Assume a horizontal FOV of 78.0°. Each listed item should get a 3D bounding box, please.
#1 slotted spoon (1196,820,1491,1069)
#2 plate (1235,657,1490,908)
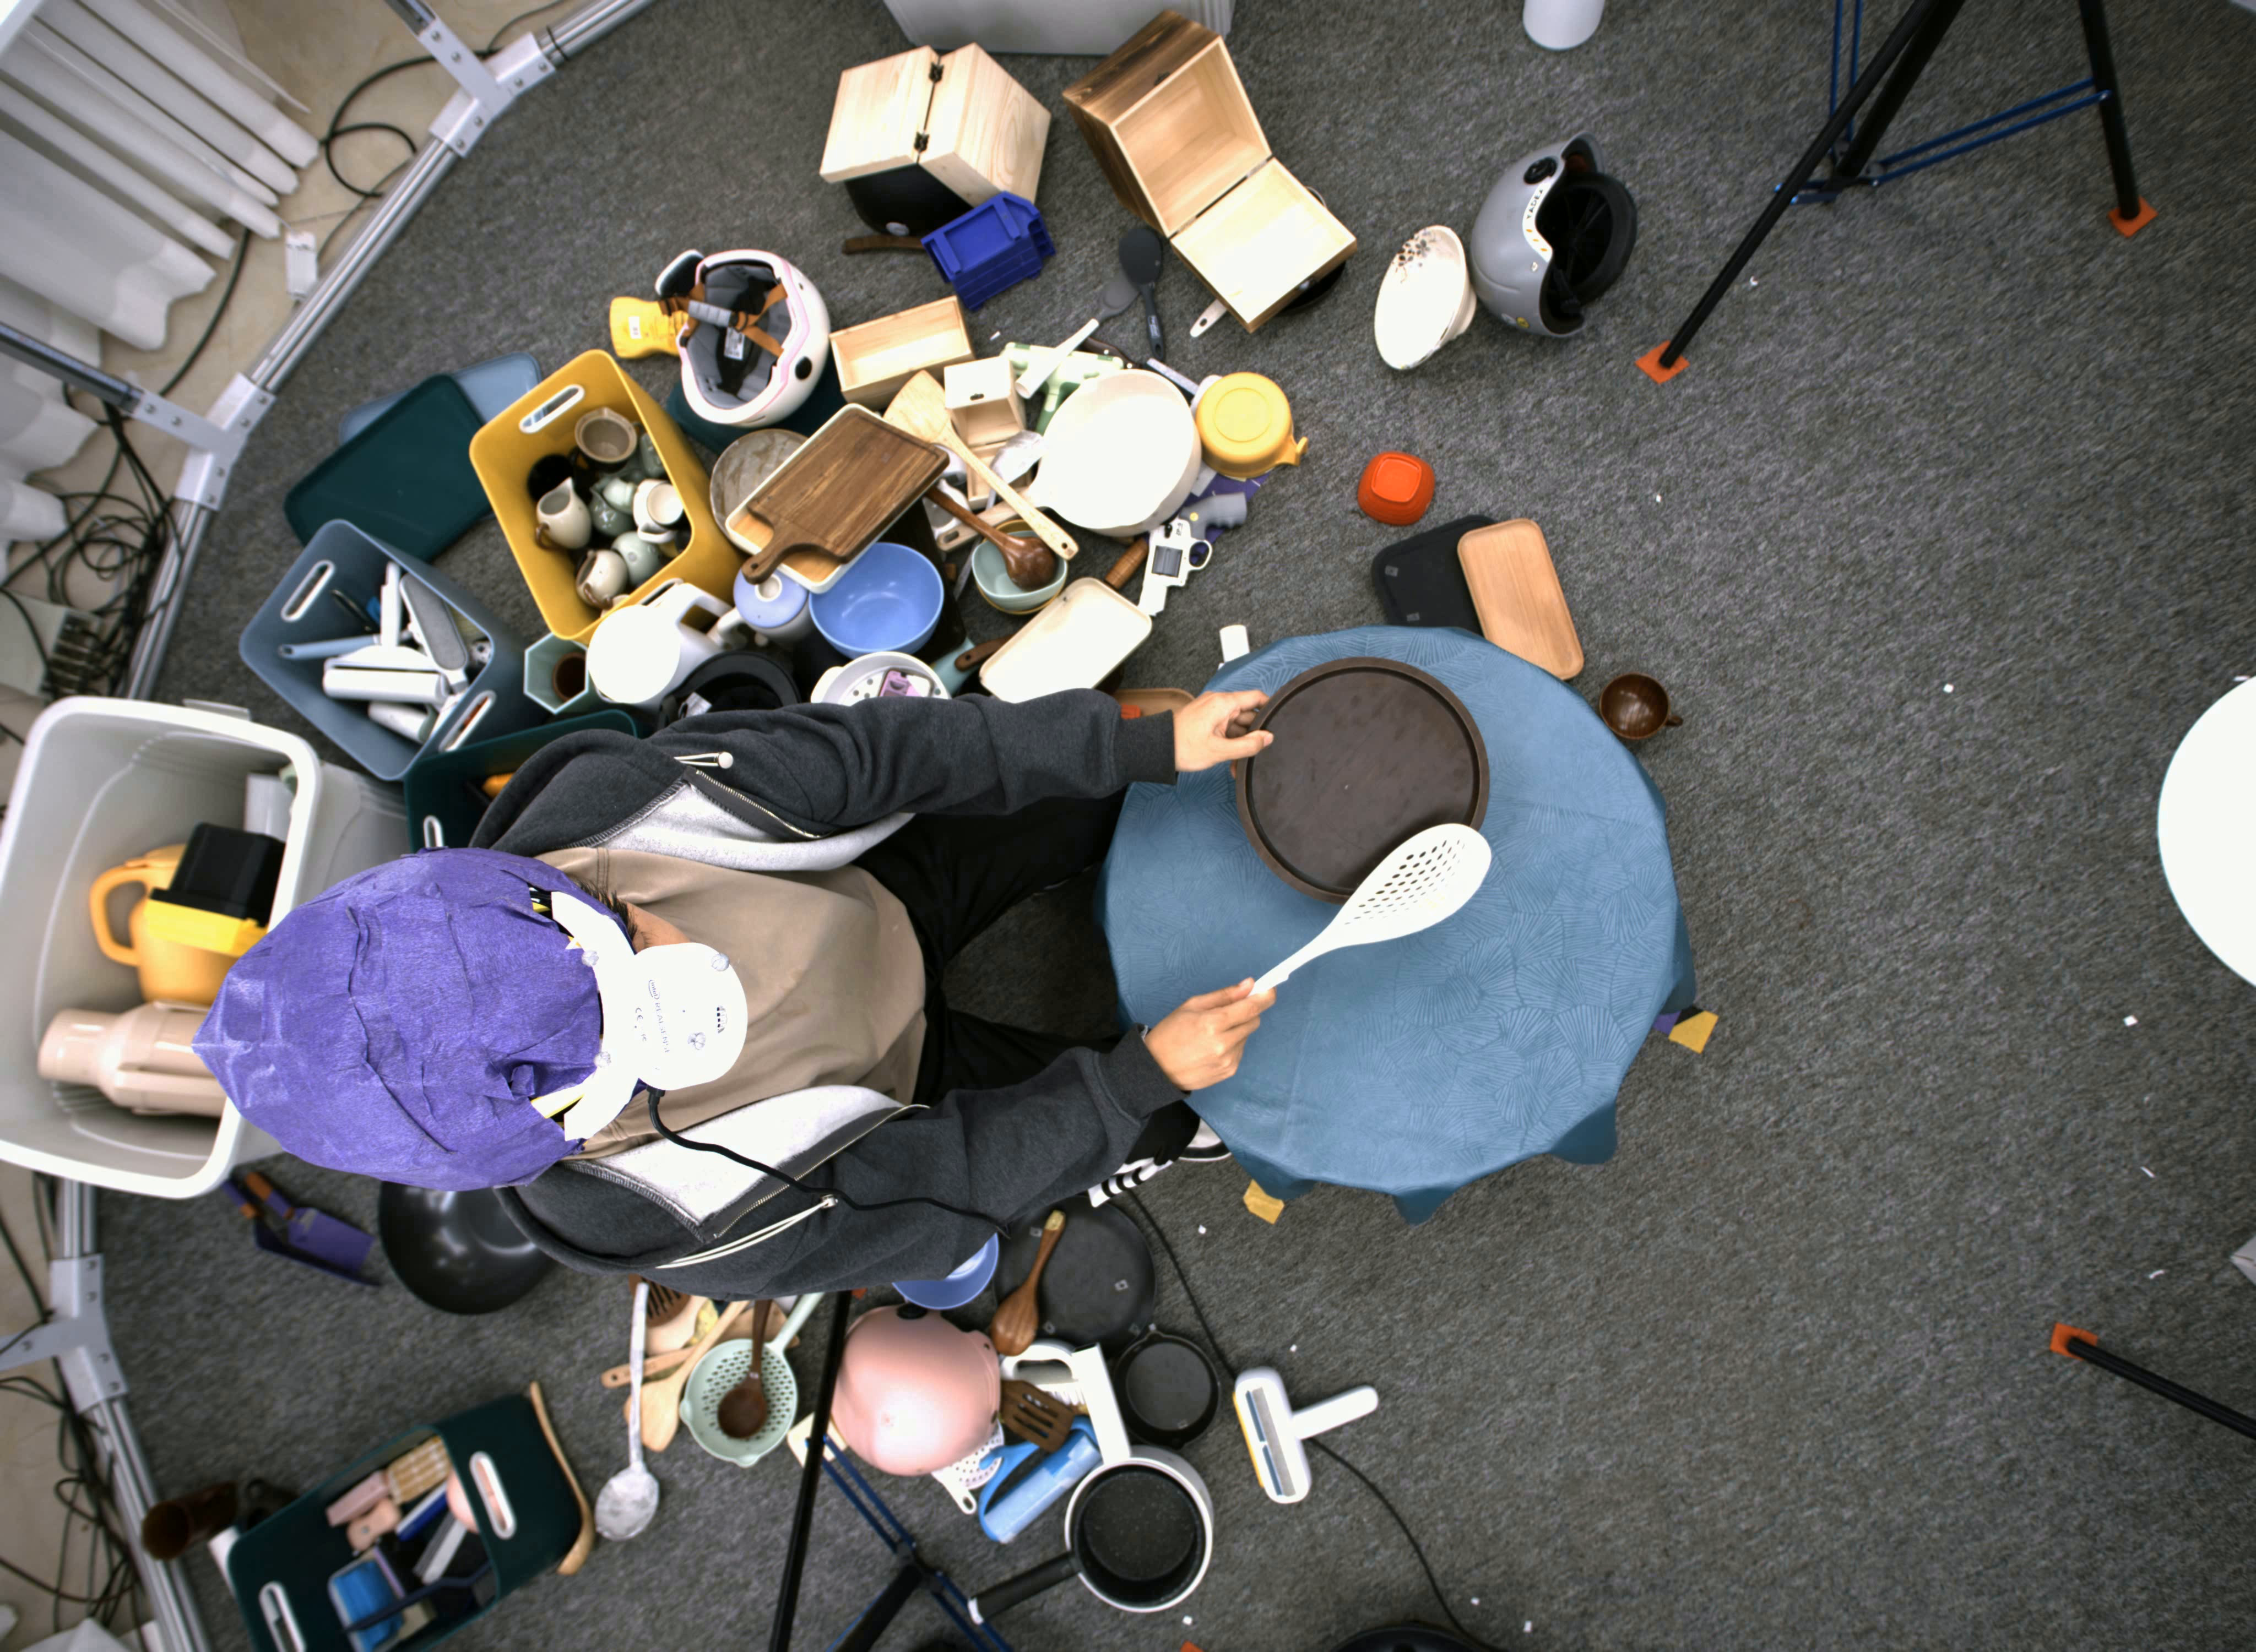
[{"bbox_3d":[0.198,0.117,1.321,0.350,0.134,0.051,-33,117,7],"label":"slotted spoon"},{"bbox_3d":[0.233,-0.044,1.379,0.255,0.028,0.257,1,104,4],"label":"plate"}]
